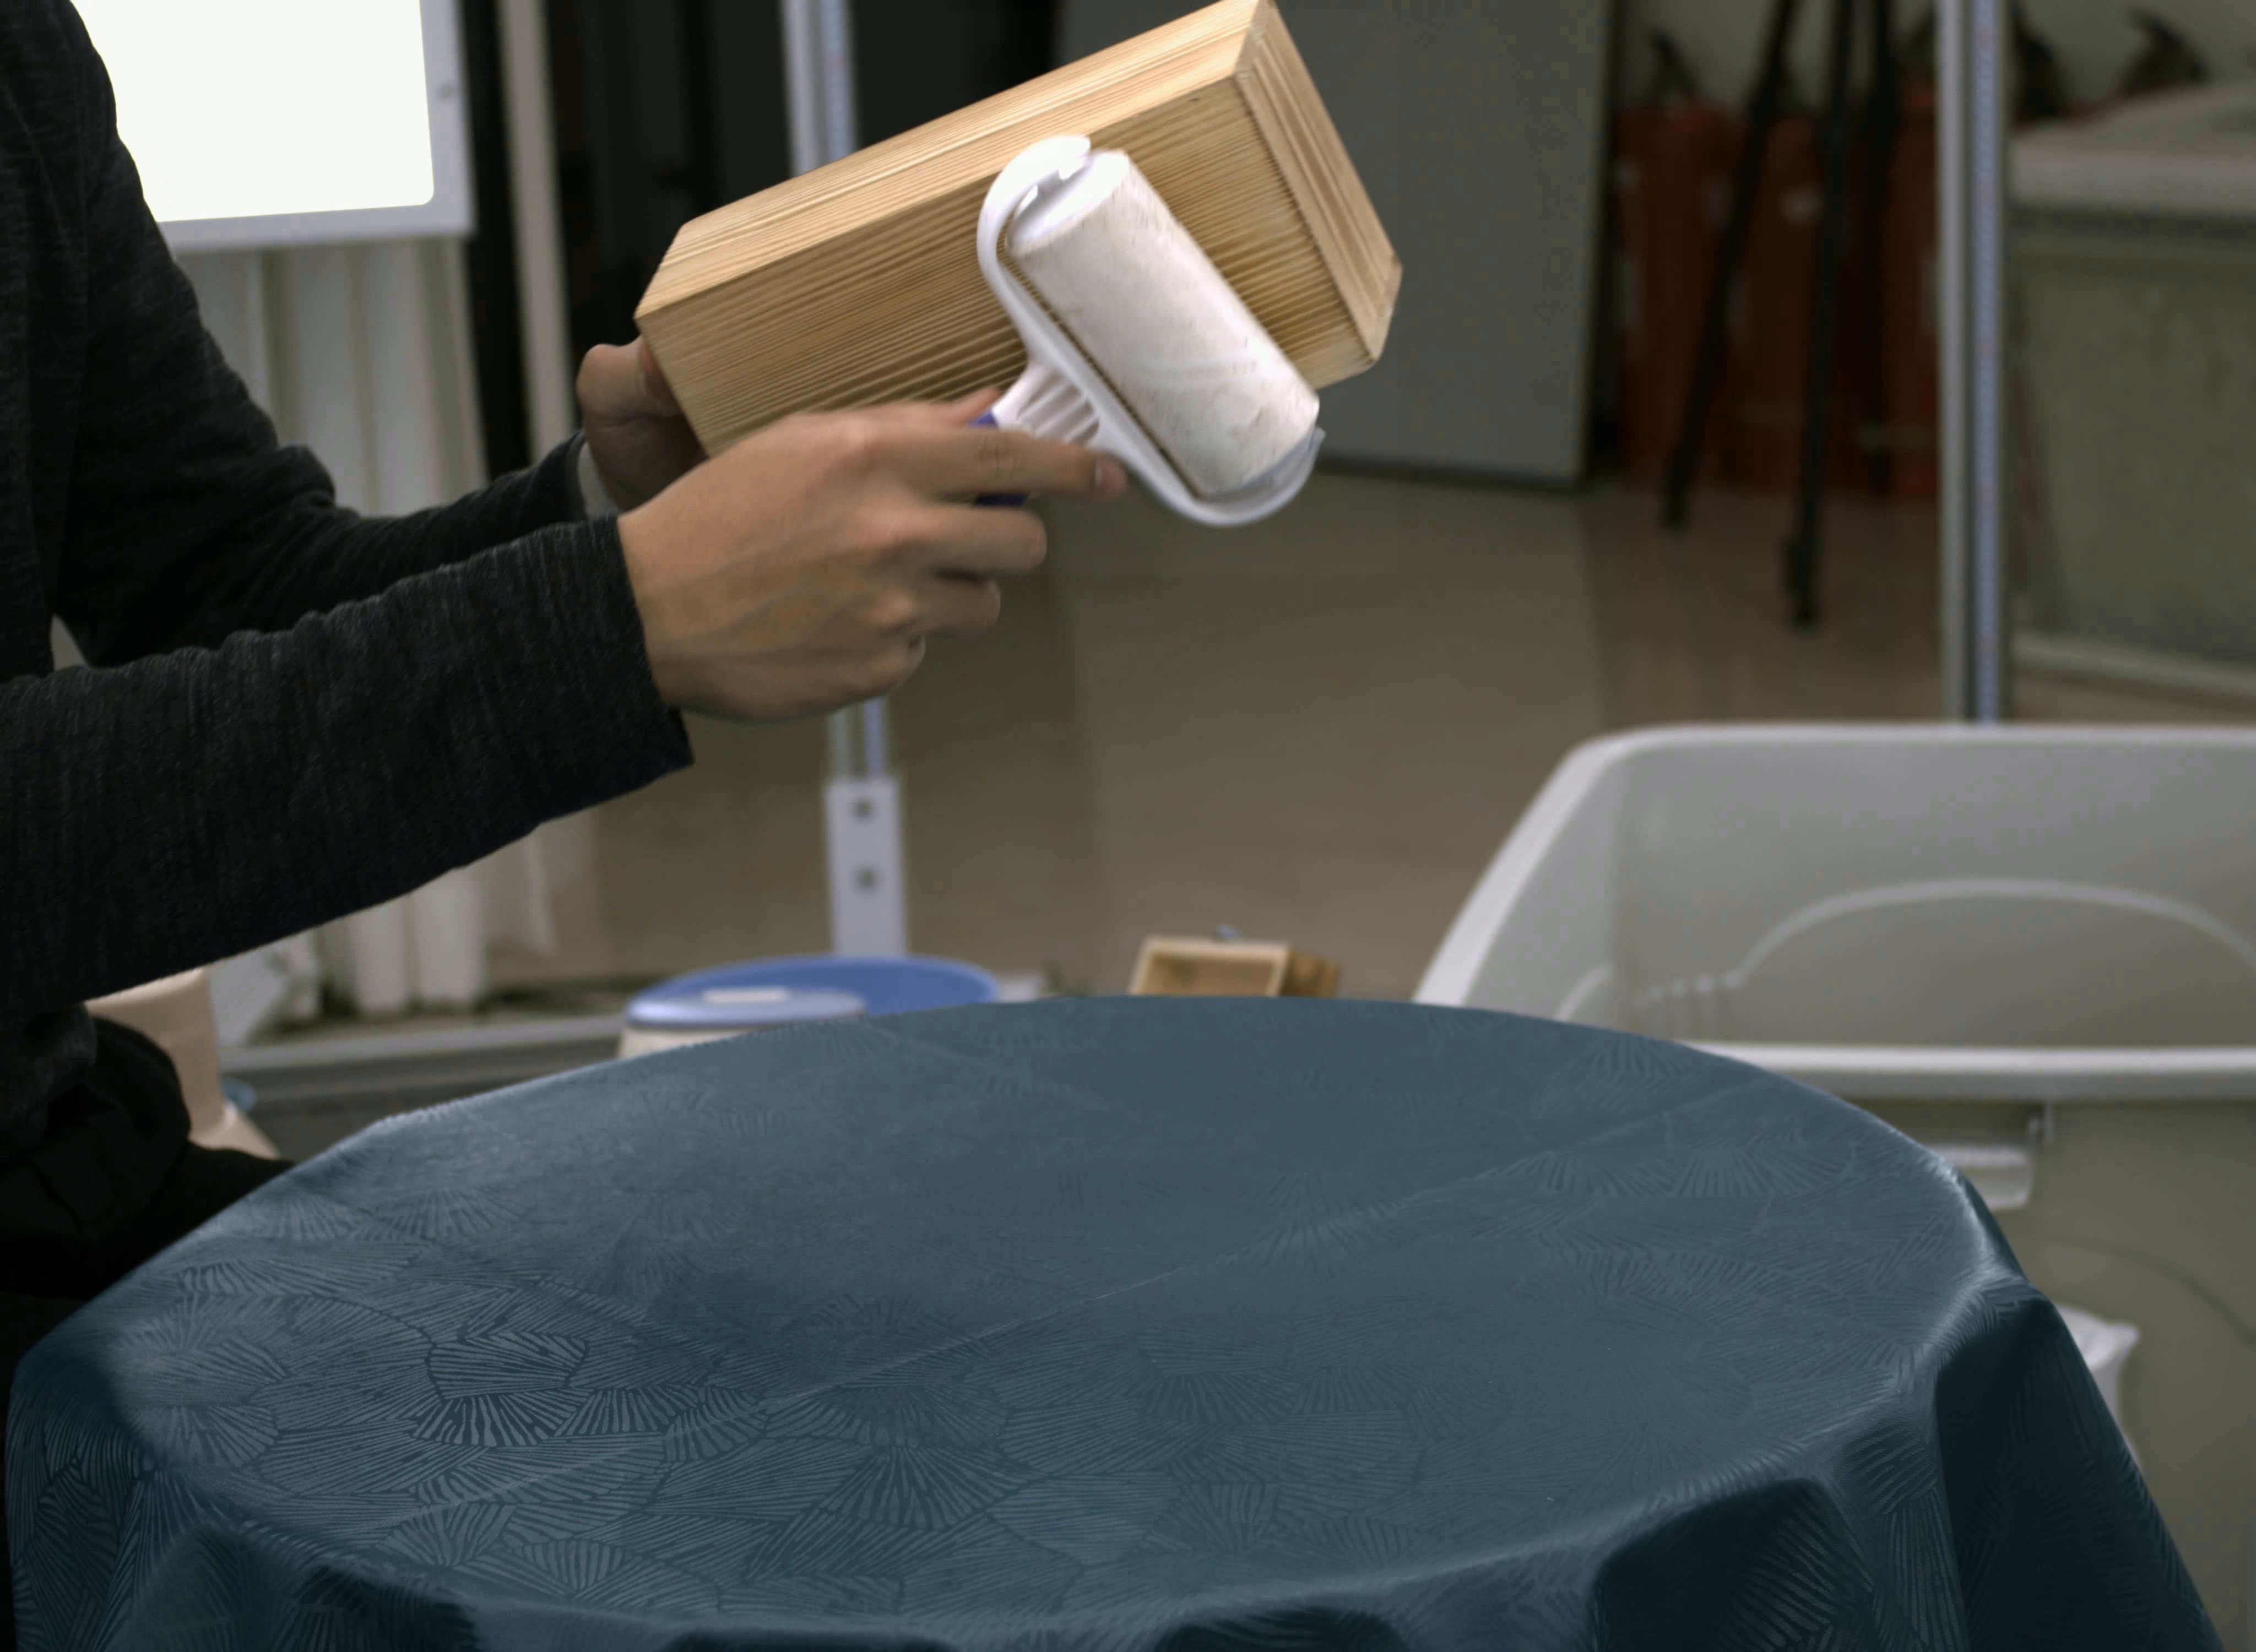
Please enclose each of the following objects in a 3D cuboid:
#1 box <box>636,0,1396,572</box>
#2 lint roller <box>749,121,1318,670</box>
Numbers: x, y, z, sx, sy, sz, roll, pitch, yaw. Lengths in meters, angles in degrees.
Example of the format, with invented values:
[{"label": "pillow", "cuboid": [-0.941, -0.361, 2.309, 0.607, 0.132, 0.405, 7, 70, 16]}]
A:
[{"label": "box", "cuboid": [-0.033, -0.174, 1.698, 0.211, 0.107, 0.080, -21, 22, 19]}, {"label": "lint roller", "cuboid": [-0.041, -0.109, 1.606, 0.180, 0.132, 0.050, -41, 20, -5]}]
